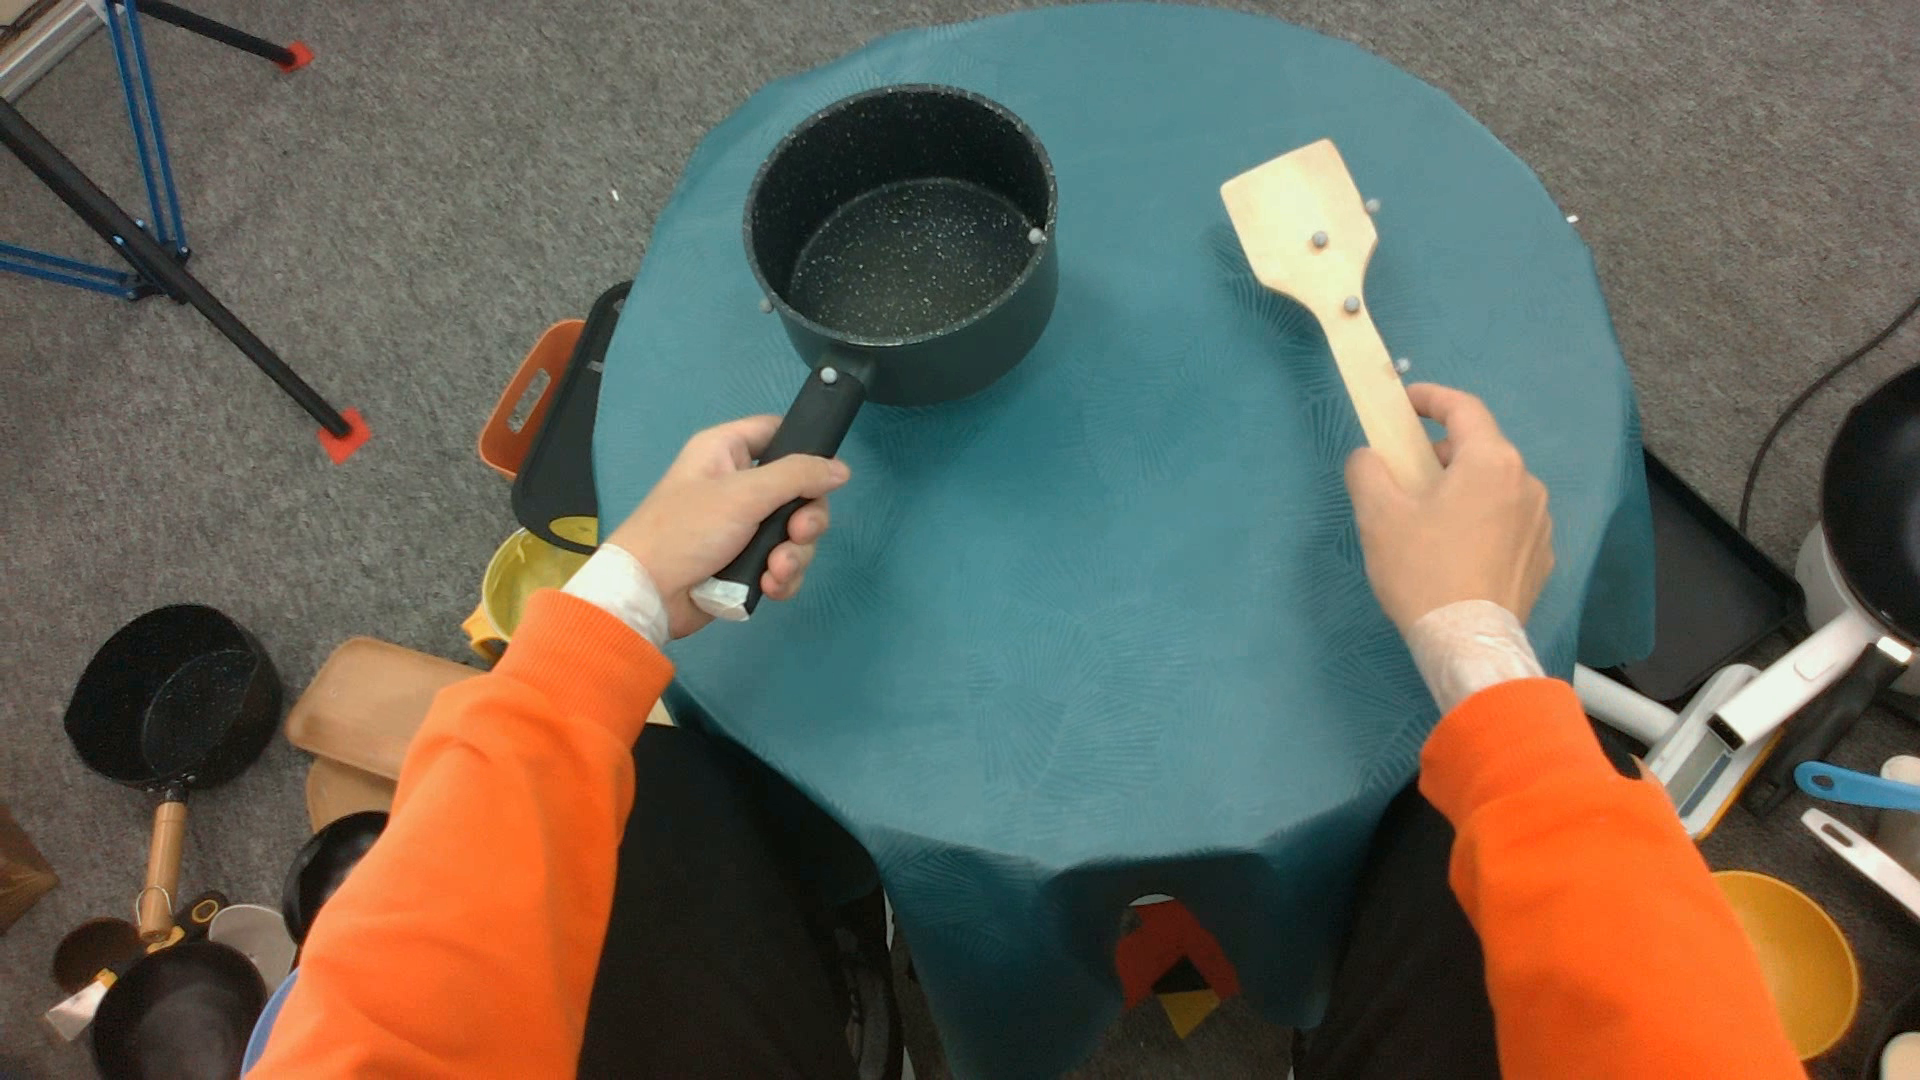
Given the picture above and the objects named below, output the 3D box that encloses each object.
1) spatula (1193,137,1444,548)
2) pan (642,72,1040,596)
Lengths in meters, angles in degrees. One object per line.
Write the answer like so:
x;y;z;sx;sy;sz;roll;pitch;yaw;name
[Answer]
0.200;-0.115;0.753;0.072;0.010;0.294;-19;54;10;spatula
-0.068;-0.103;0.737;0.172;0.086;0.330;17;66;16;pan
